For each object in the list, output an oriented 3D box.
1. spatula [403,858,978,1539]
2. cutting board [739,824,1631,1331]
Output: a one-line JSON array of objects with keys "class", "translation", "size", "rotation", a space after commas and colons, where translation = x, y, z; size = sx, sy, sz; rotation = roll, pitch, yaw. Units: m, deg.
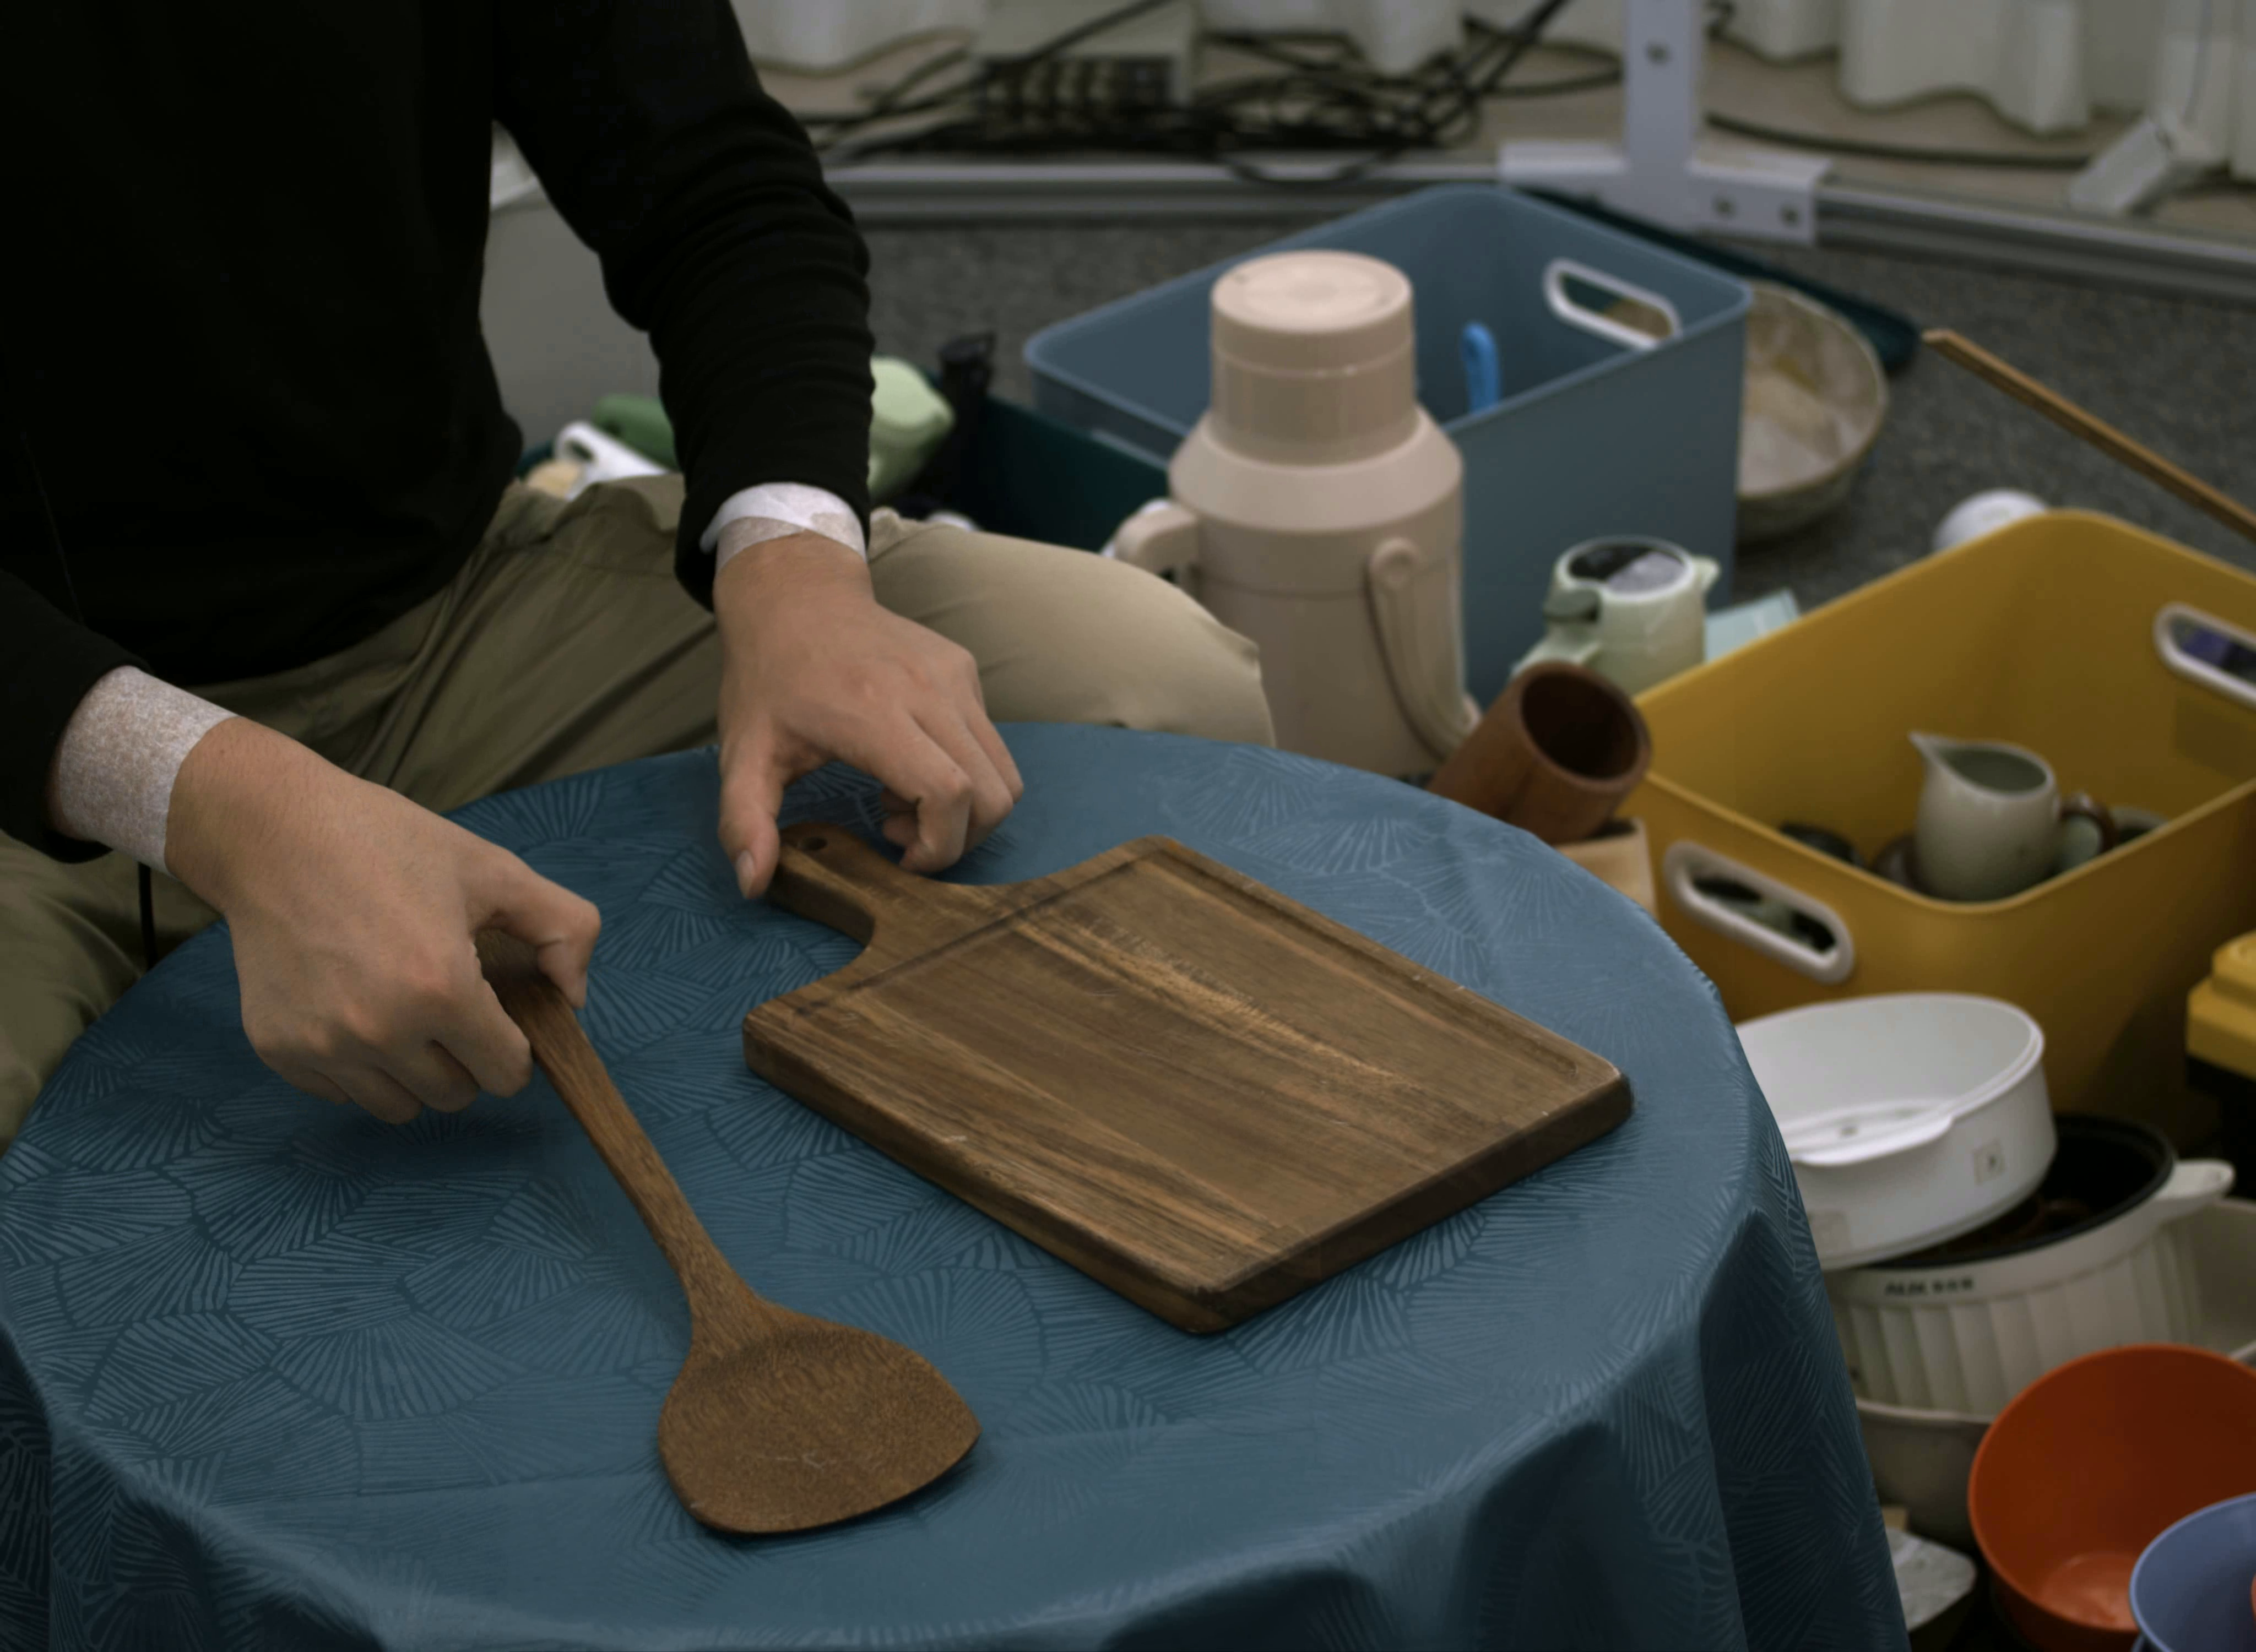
[{"class": "spatula", "translation": [-0.164, 0.111, 1.840], "size": [0.096, 0.015, 0.389], "rotation": [-16, 38, -20]}, {"class": "cutting board", "translation": [-0.015, 0.066, 1.948], "size": [0.203, 0.023, 0.352], "rotation": [-23, 34, -35]}]
